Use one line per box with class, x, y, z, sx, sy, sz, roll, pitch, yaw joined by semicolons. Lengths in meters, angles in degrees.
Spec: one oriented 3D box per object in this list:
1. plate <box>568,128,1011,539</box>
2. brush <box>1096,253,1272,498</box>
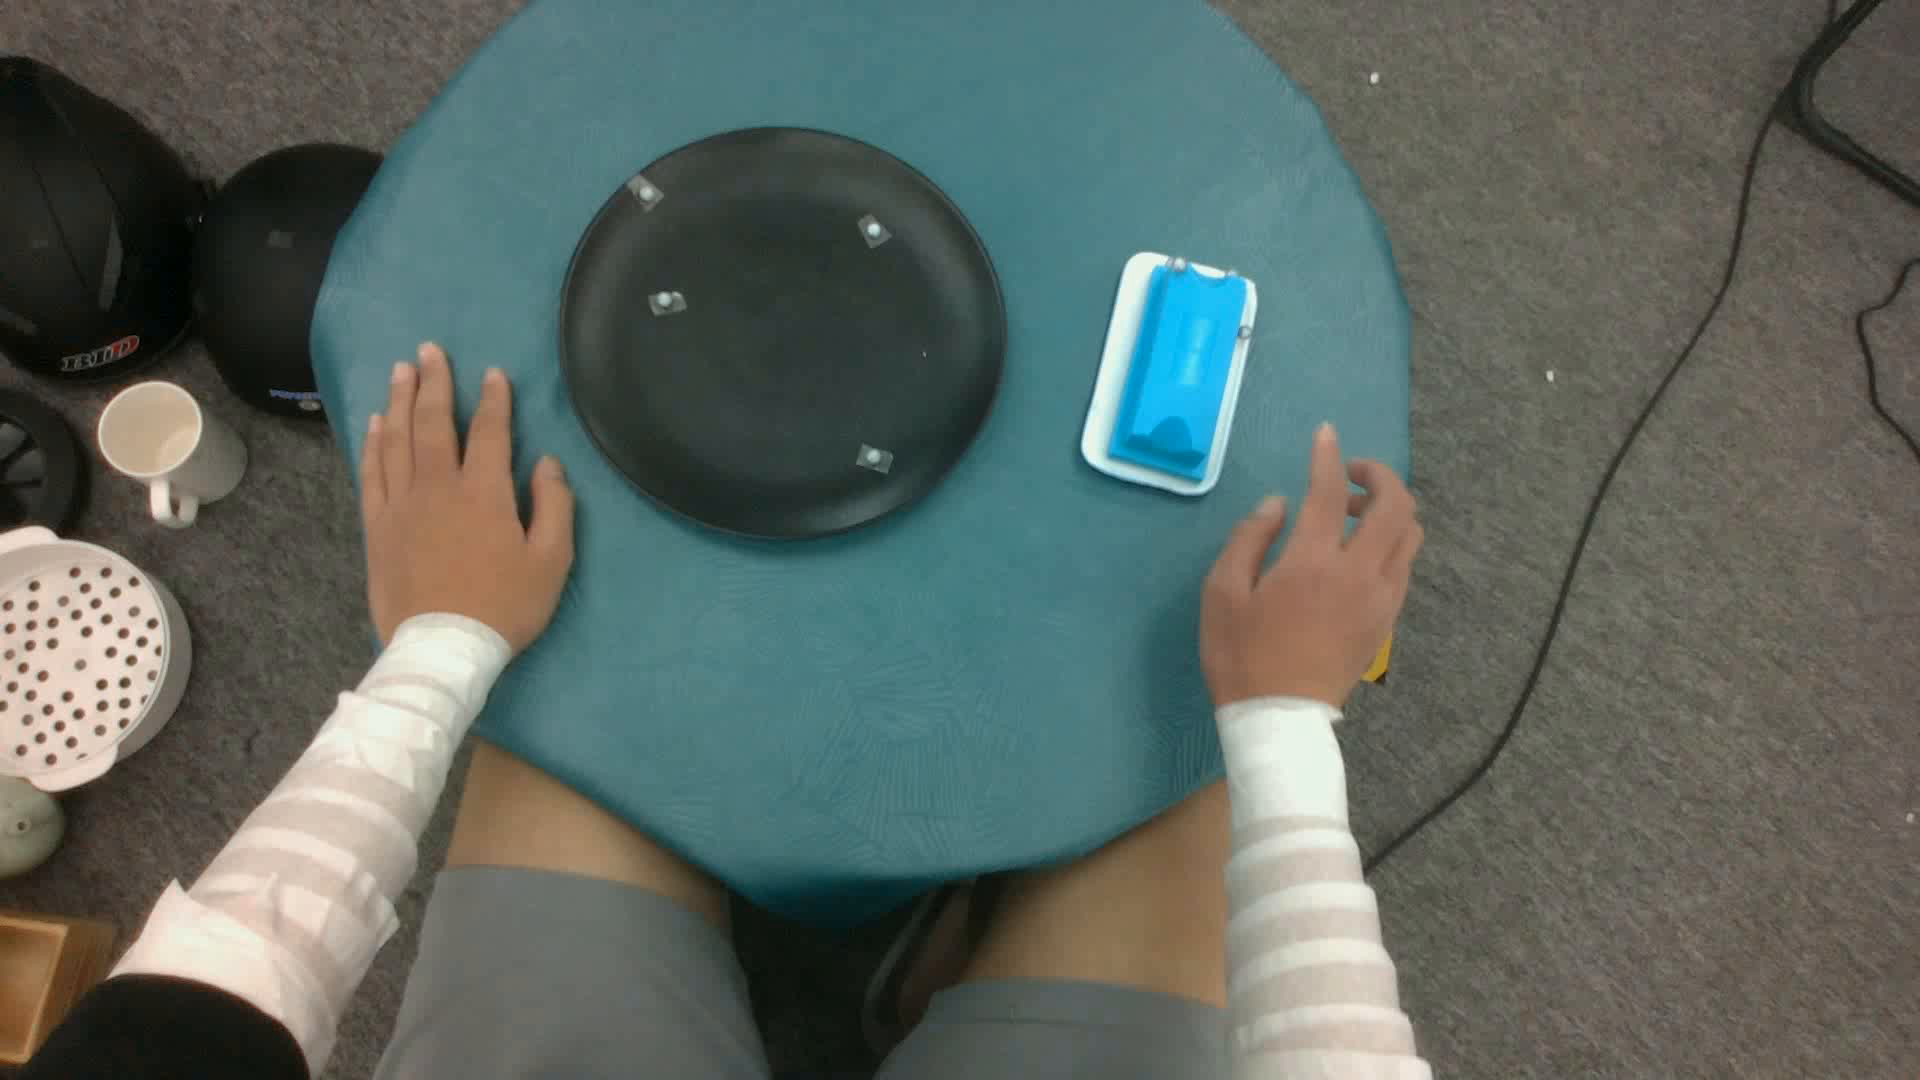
plate;-0.093;-0.117;0.771;0.244;0.023;0.245;1;76;-5
brush;0.128;-0.098;0.766;0.084;0.056;0.144;12;72;2
